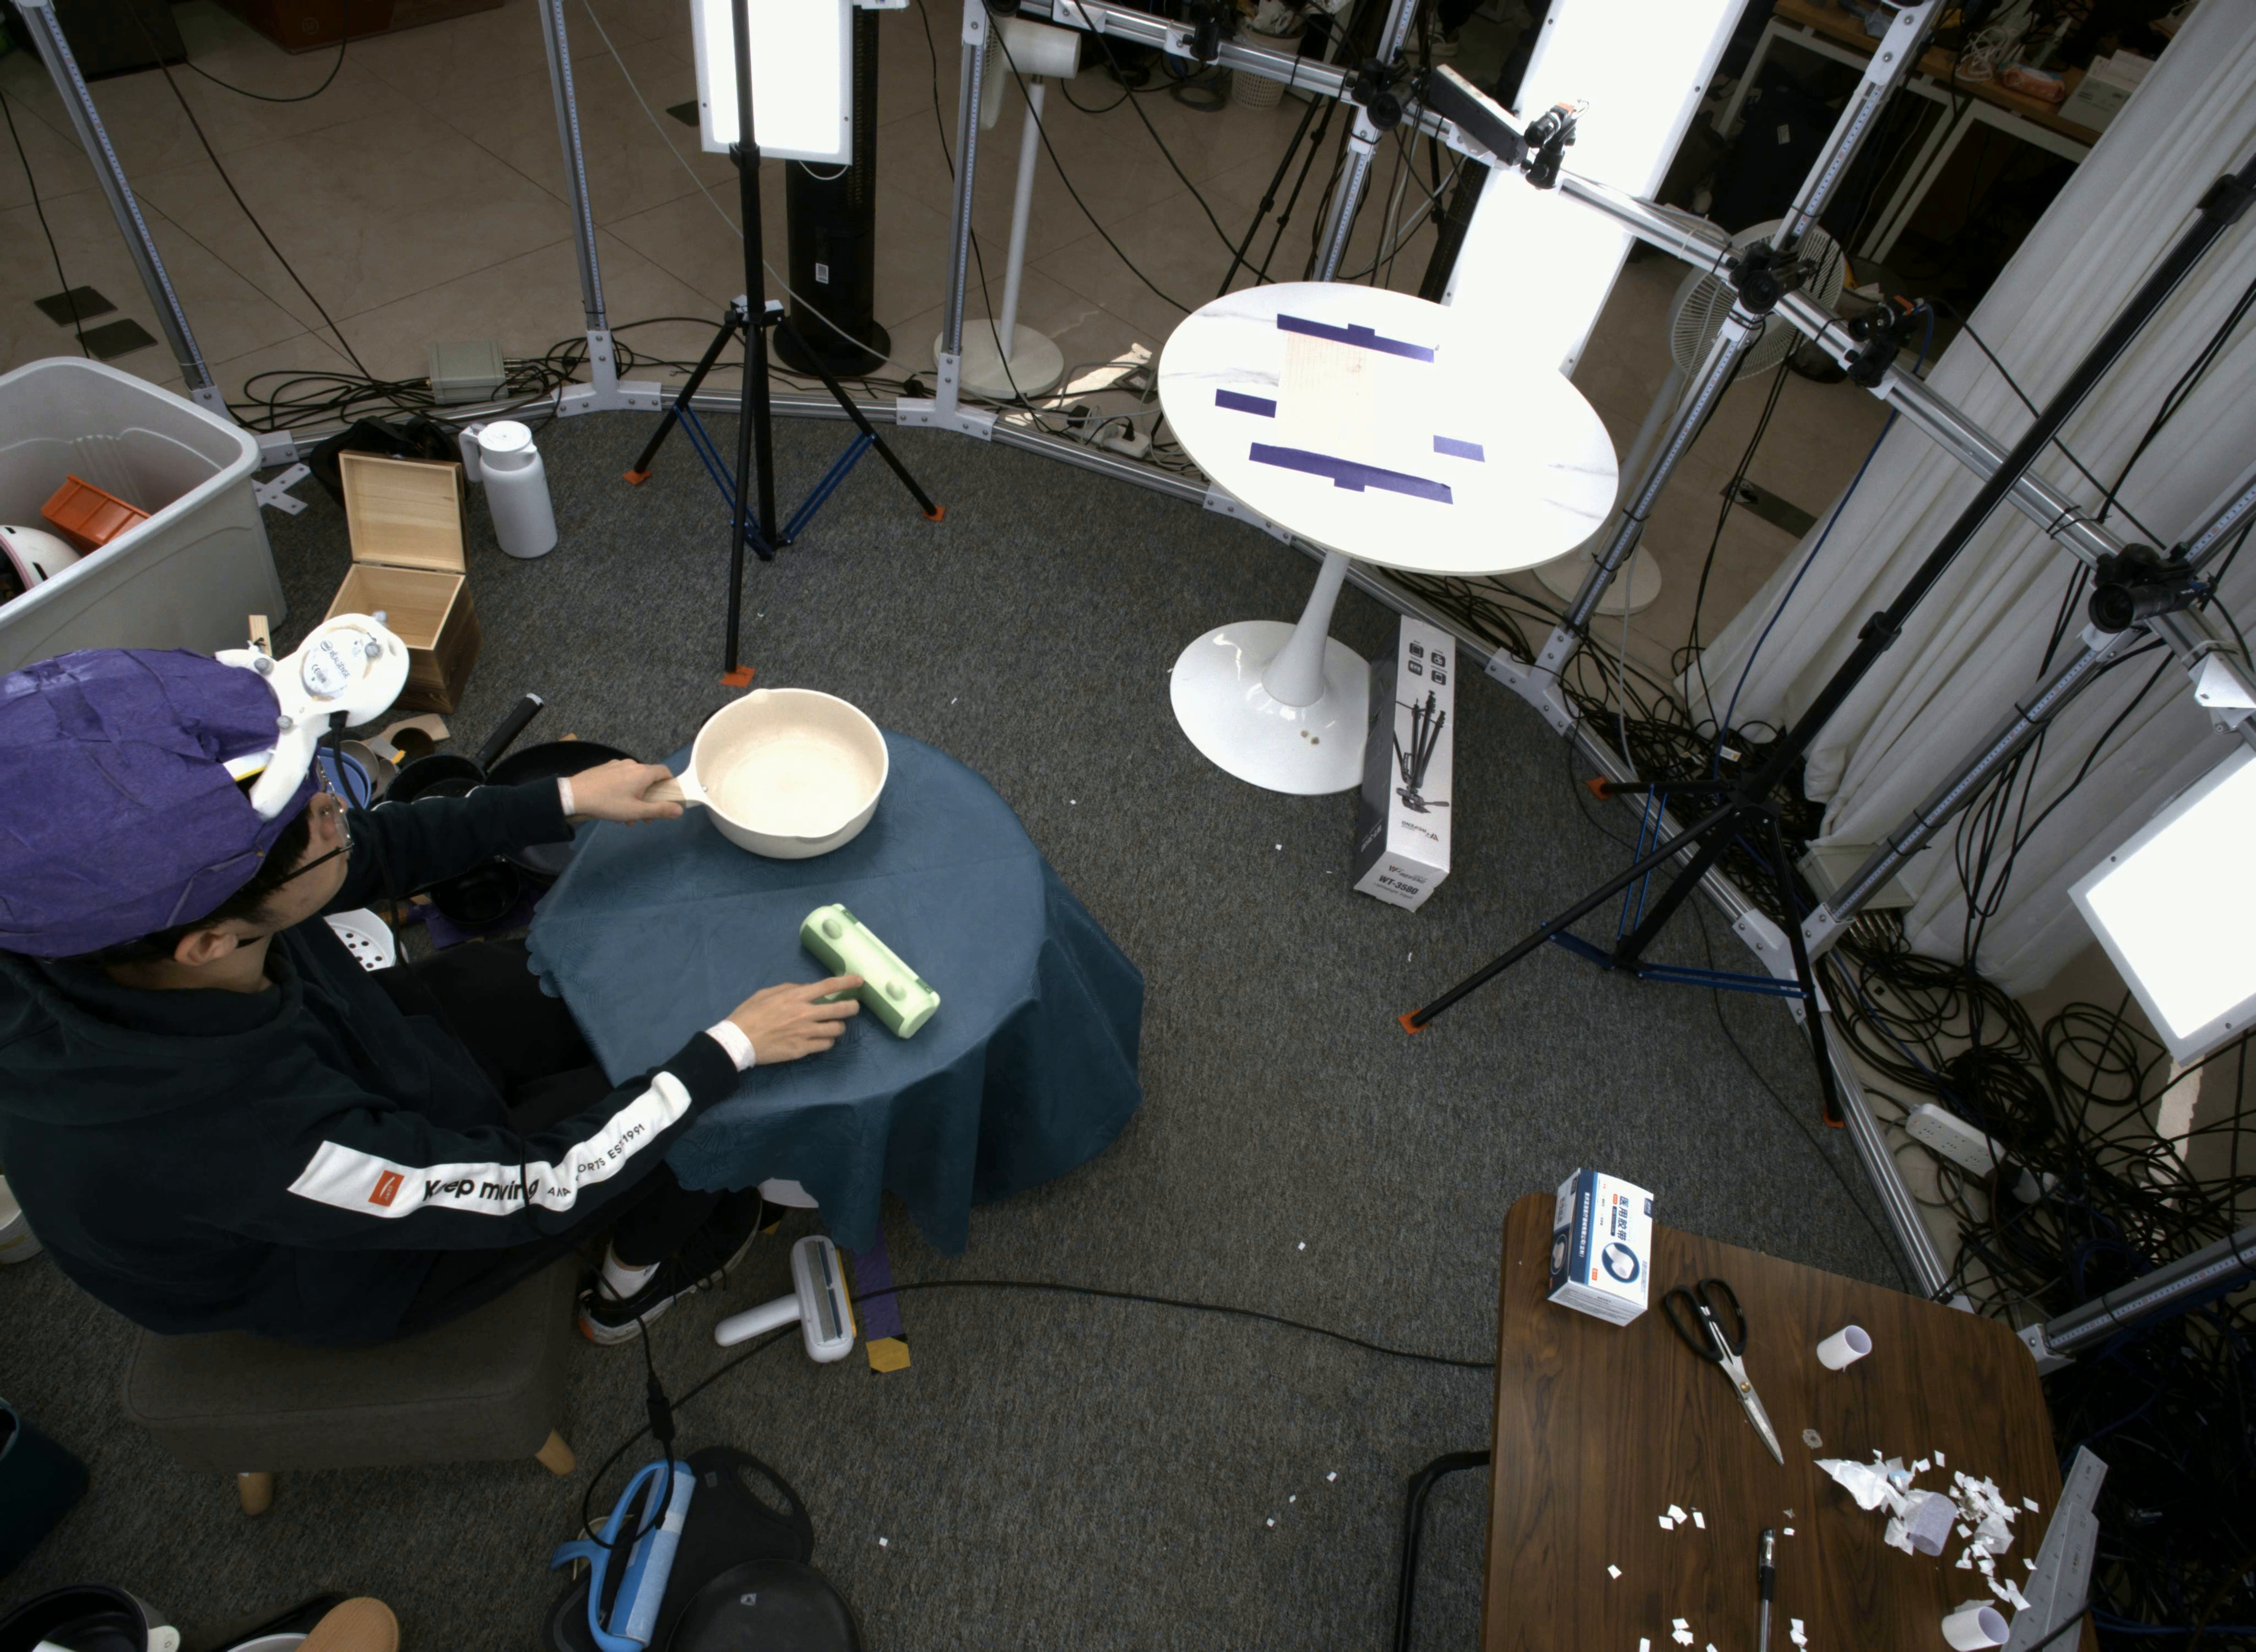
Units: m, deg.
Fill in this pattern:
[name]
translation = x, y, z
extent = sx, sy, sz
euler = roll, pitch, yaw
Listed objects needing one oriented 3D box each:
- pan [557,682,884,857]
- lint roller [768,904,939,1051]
[pan]
translation = -0.528, -0.047, 1.673
extent = 0.437, 0.104, 0.257
euler = -19, 62, -26
[lint roller]
translation = -0.355, 0.195, 1.554
extent = 0.194, 0.083, 0.184
euler = 40, 49, 16
